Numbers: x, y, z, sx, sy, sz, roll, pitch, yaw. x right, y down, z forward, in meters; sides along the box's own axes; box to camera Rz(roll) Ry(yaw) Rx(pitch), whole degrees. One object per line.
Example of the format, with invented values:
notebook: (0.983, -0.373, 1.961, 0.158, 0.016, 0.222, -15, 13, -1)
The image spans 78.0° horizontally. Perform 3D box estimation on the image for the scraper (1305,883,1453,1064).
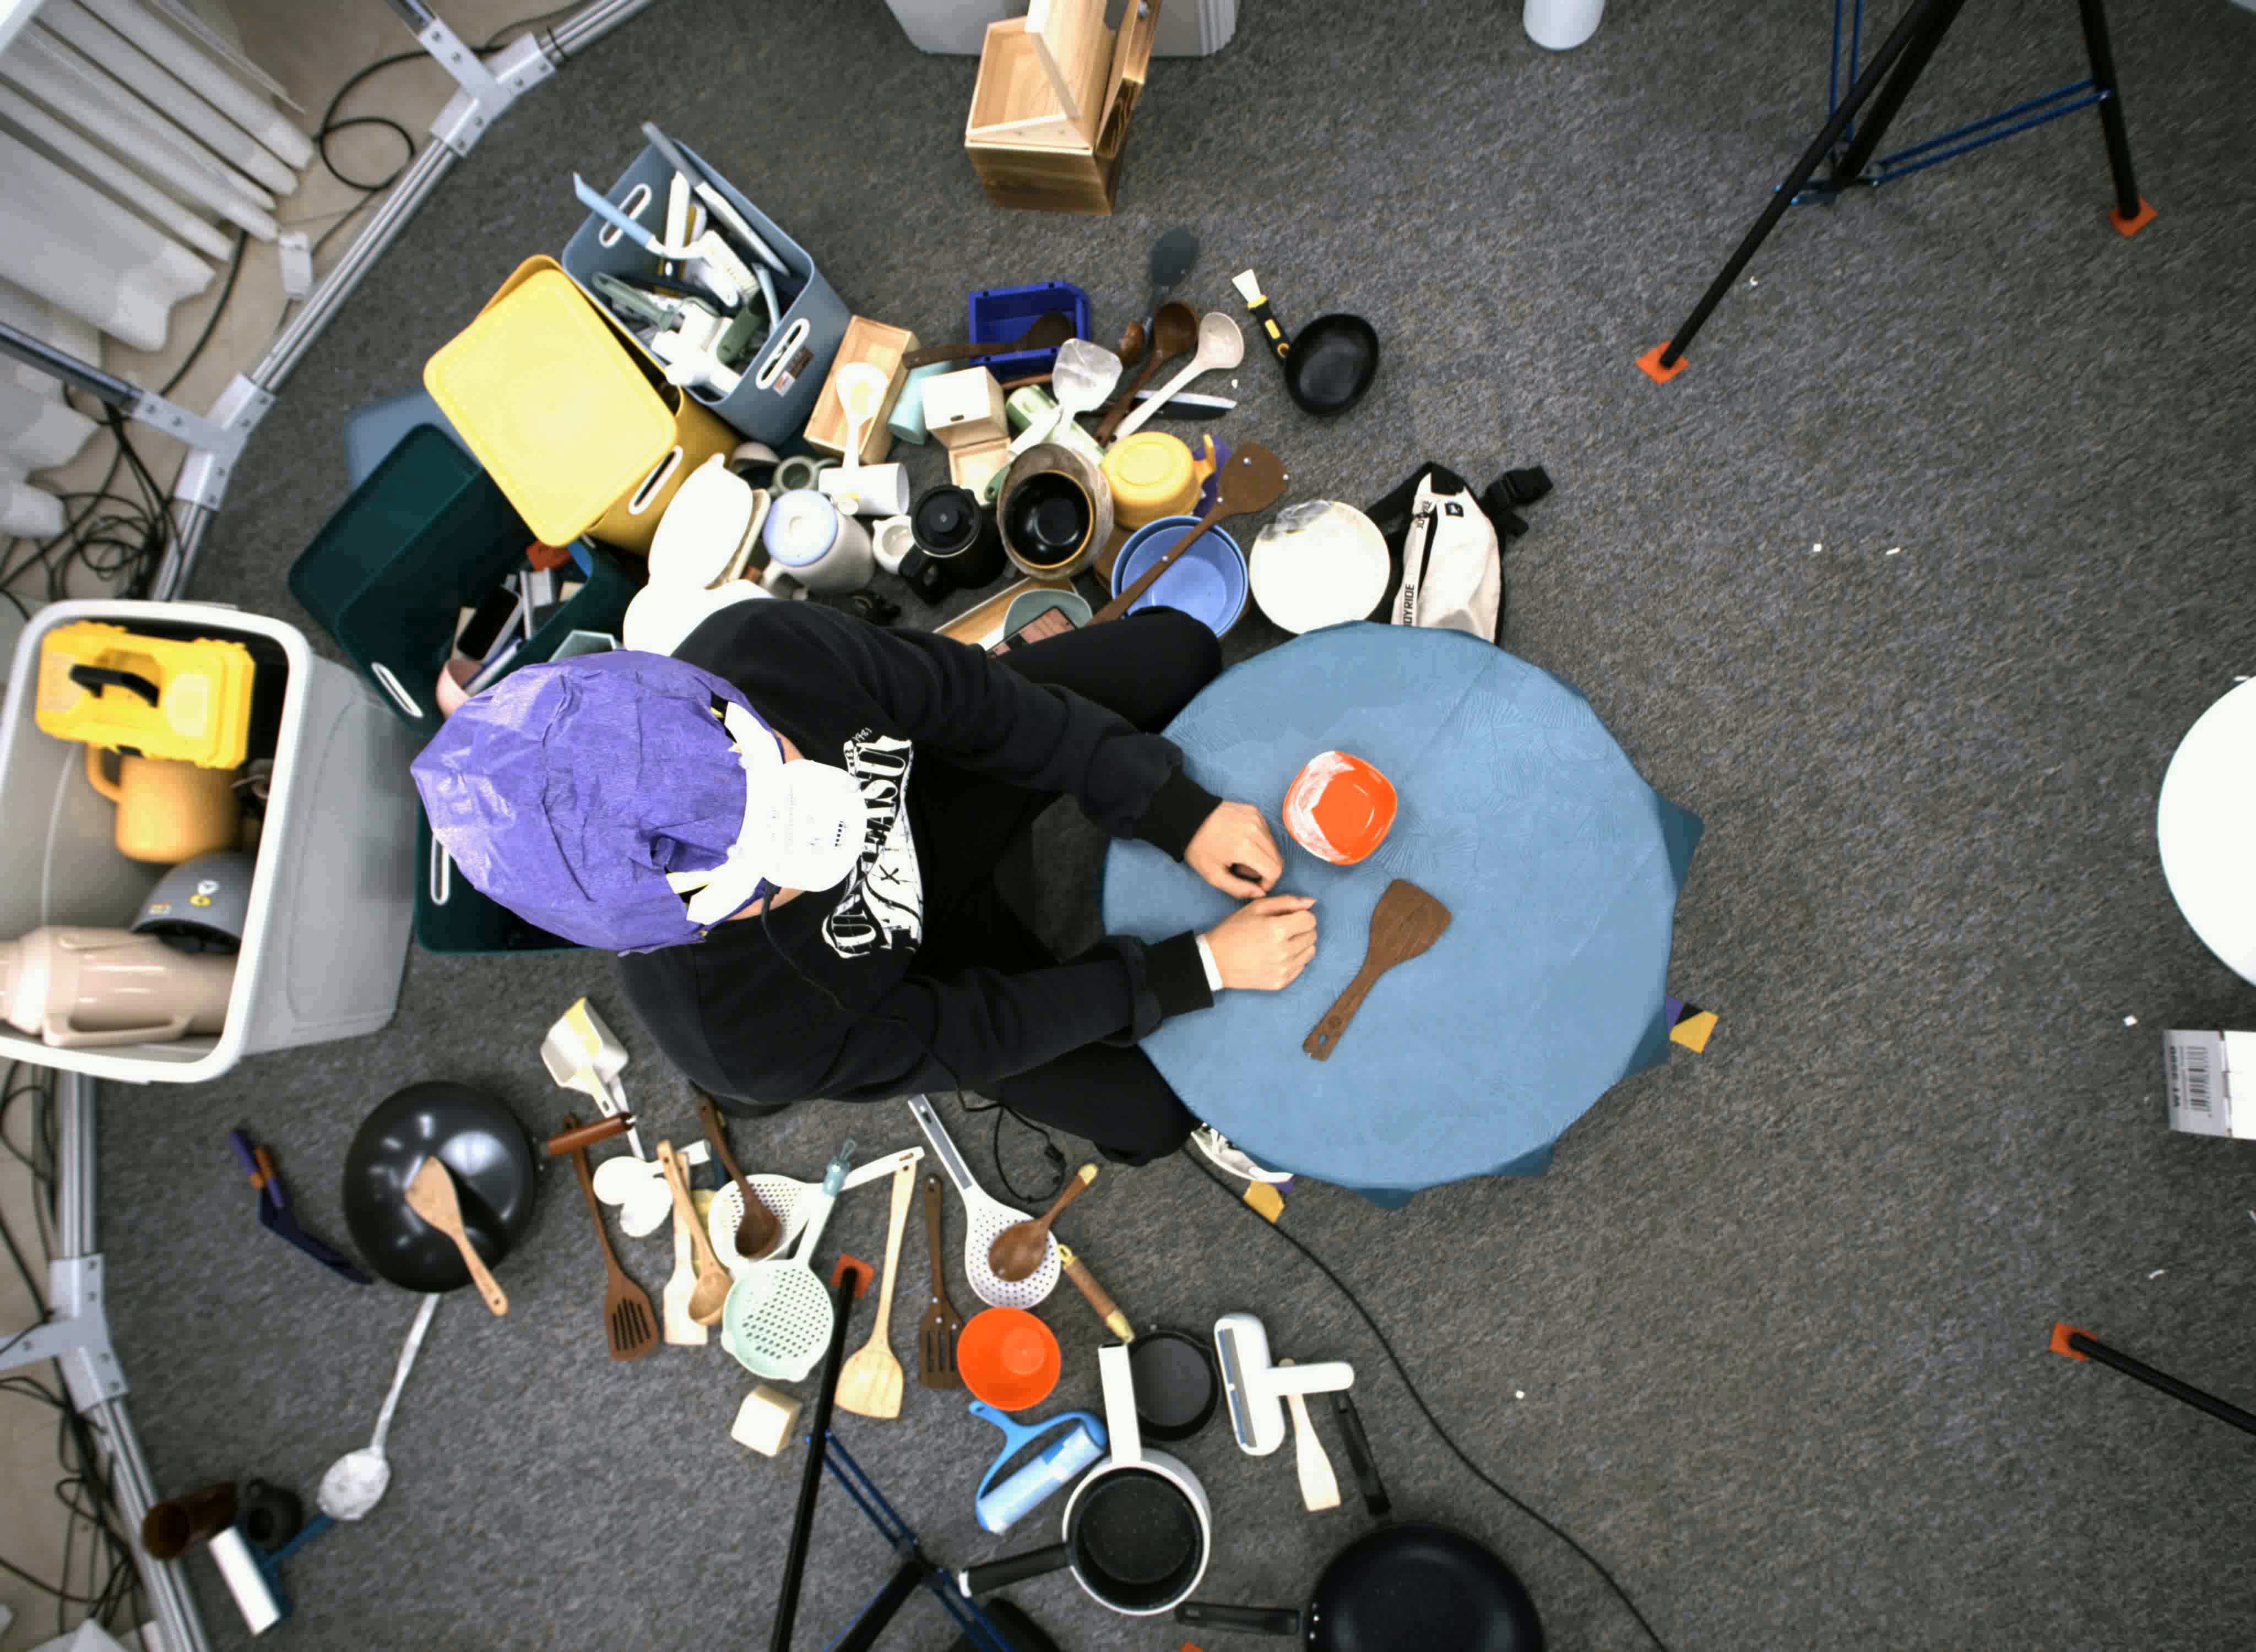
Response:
scraper: (0.255, 0.159, 1.458, 0.075, 0.011, 0.212, 36, 94, 12)

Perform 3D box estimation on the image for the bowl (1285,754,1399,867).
bowl: (0.225, -0.015, 1.454, 0.119, 0.051, 0.118, -1, 86, 8)
